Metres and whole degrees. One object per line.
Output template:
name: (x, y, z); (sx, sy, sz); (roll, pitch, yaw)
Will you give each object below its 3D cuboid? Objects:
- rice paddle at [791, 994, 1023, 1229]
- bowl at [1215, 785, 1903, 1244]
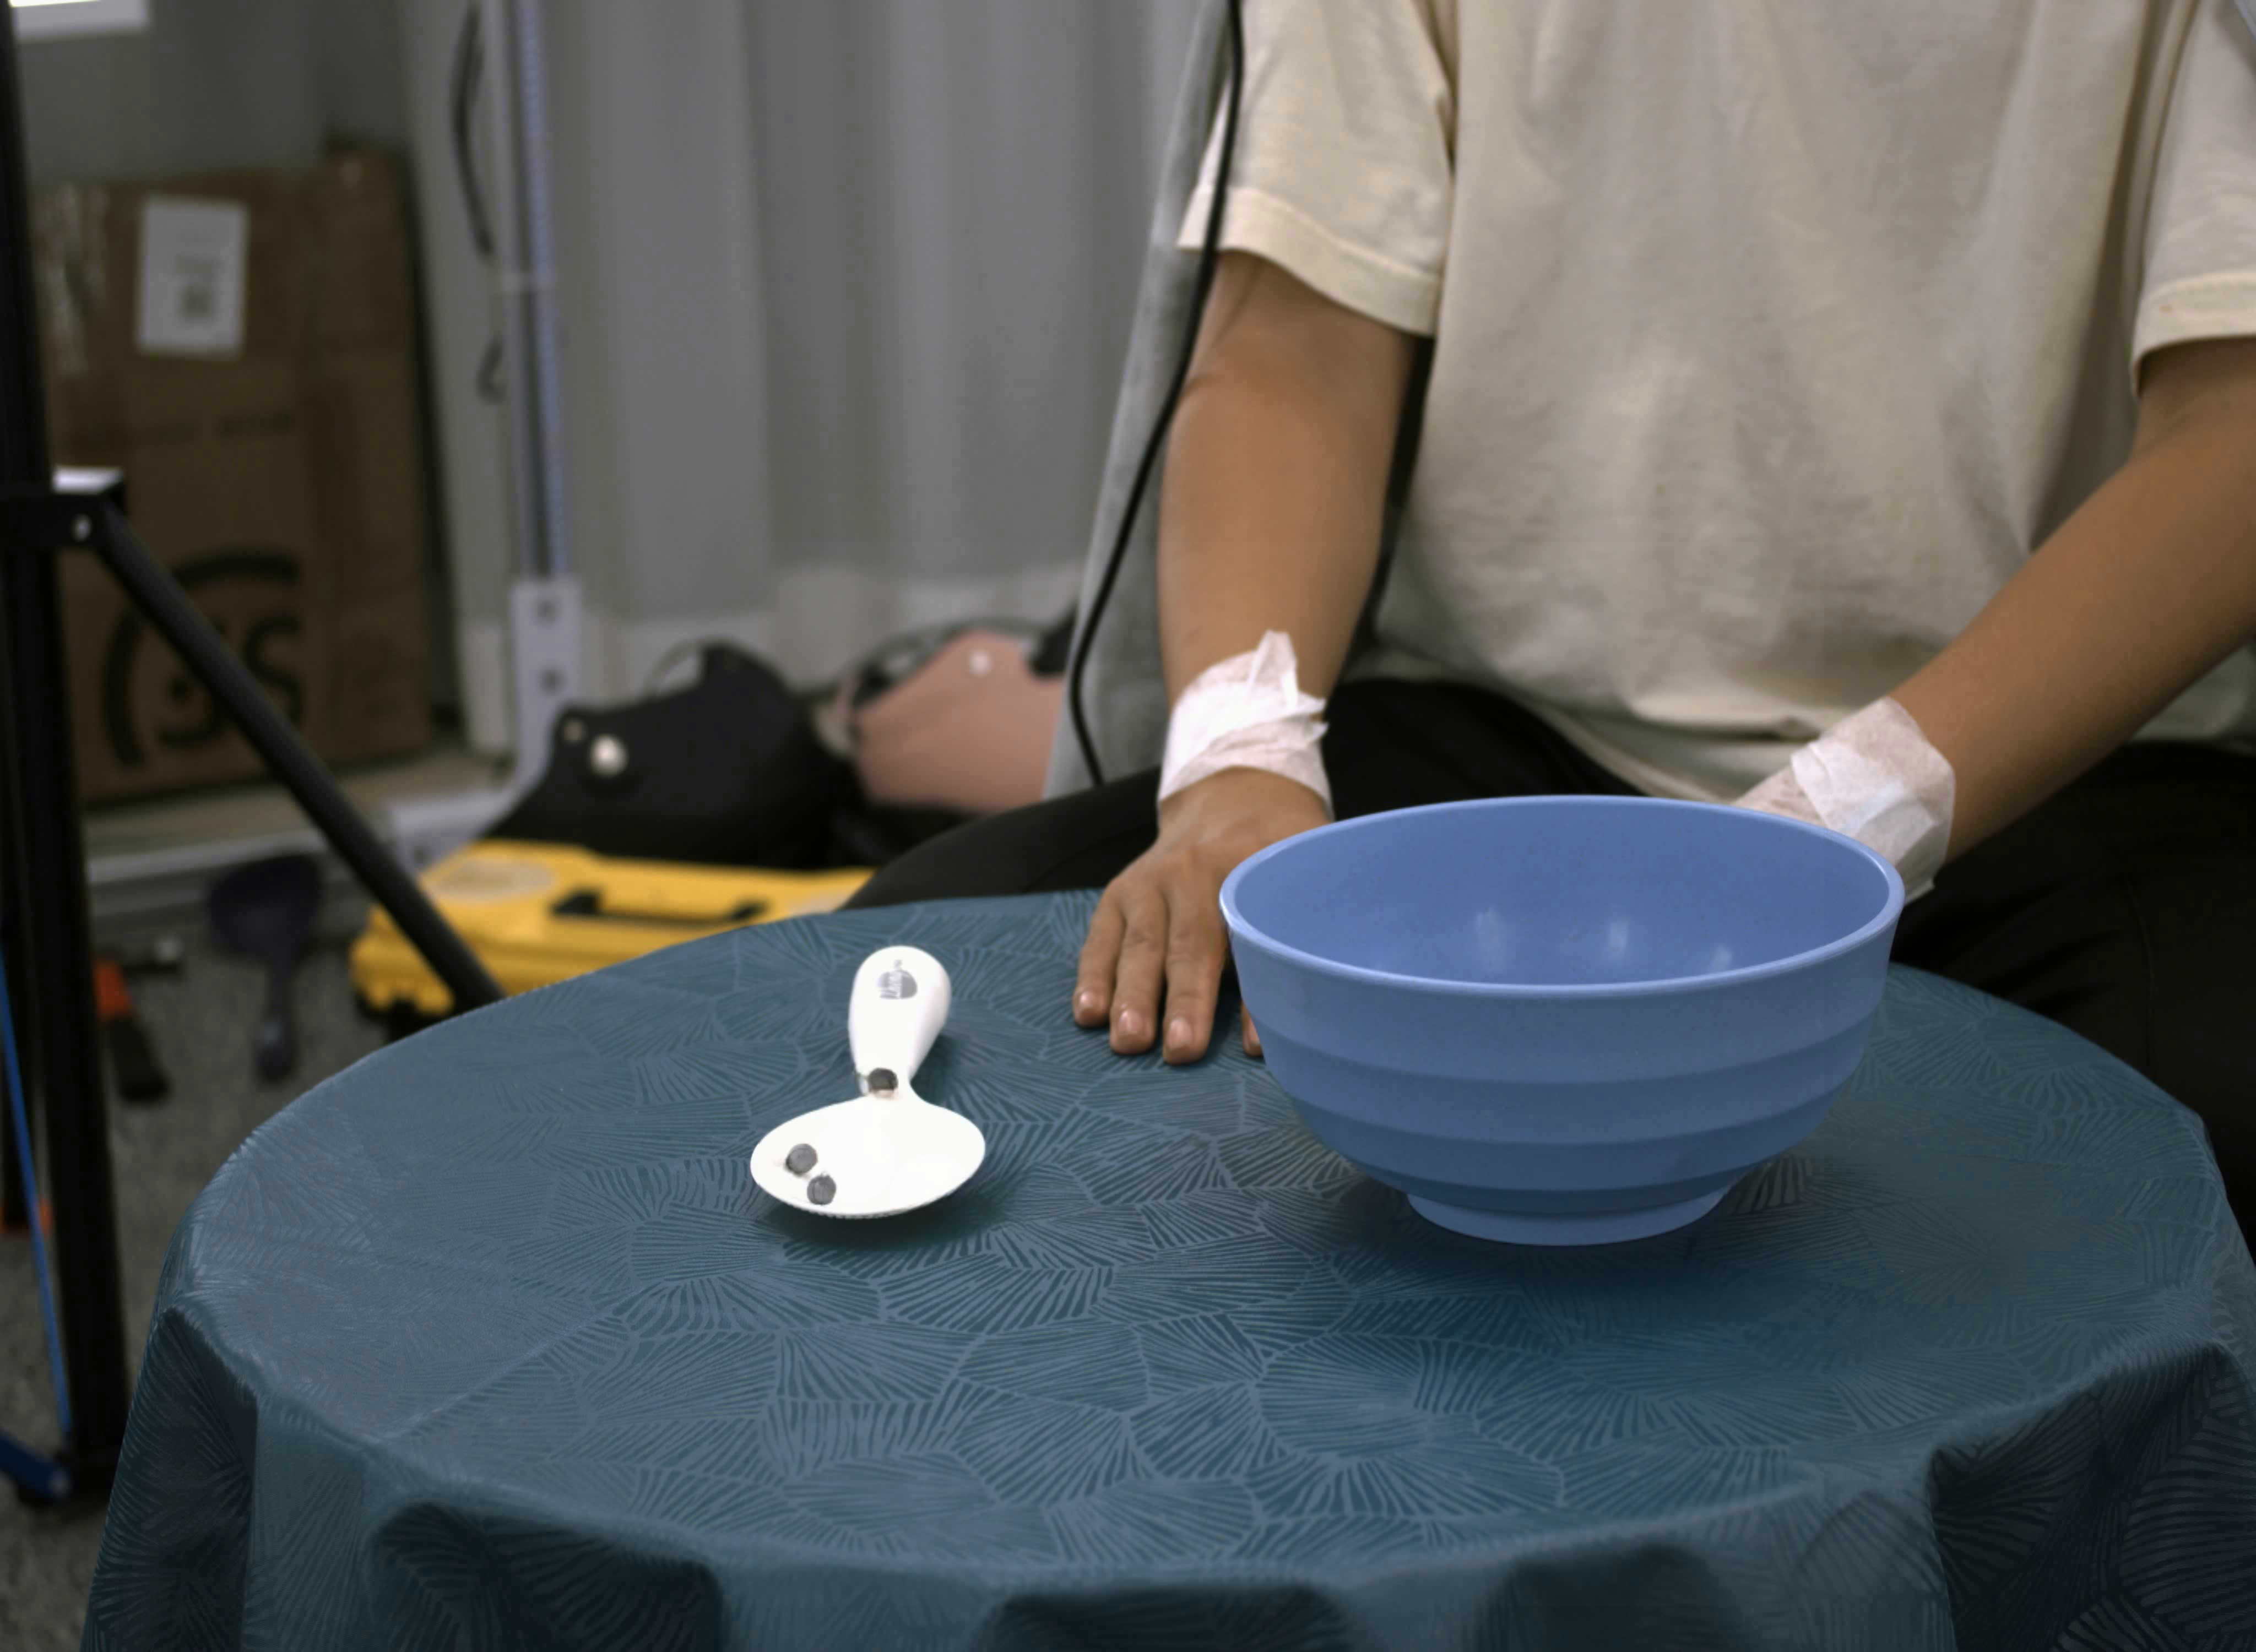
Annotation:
rice paddle: (-0.073, 0.088, 1.602); (0.068, 0.029, 0.207); (8, 10, -10)
bowl: (0.125, 0.060, 1.526); (0.195, 0.095, 0.197); (-4, 16, 0)
